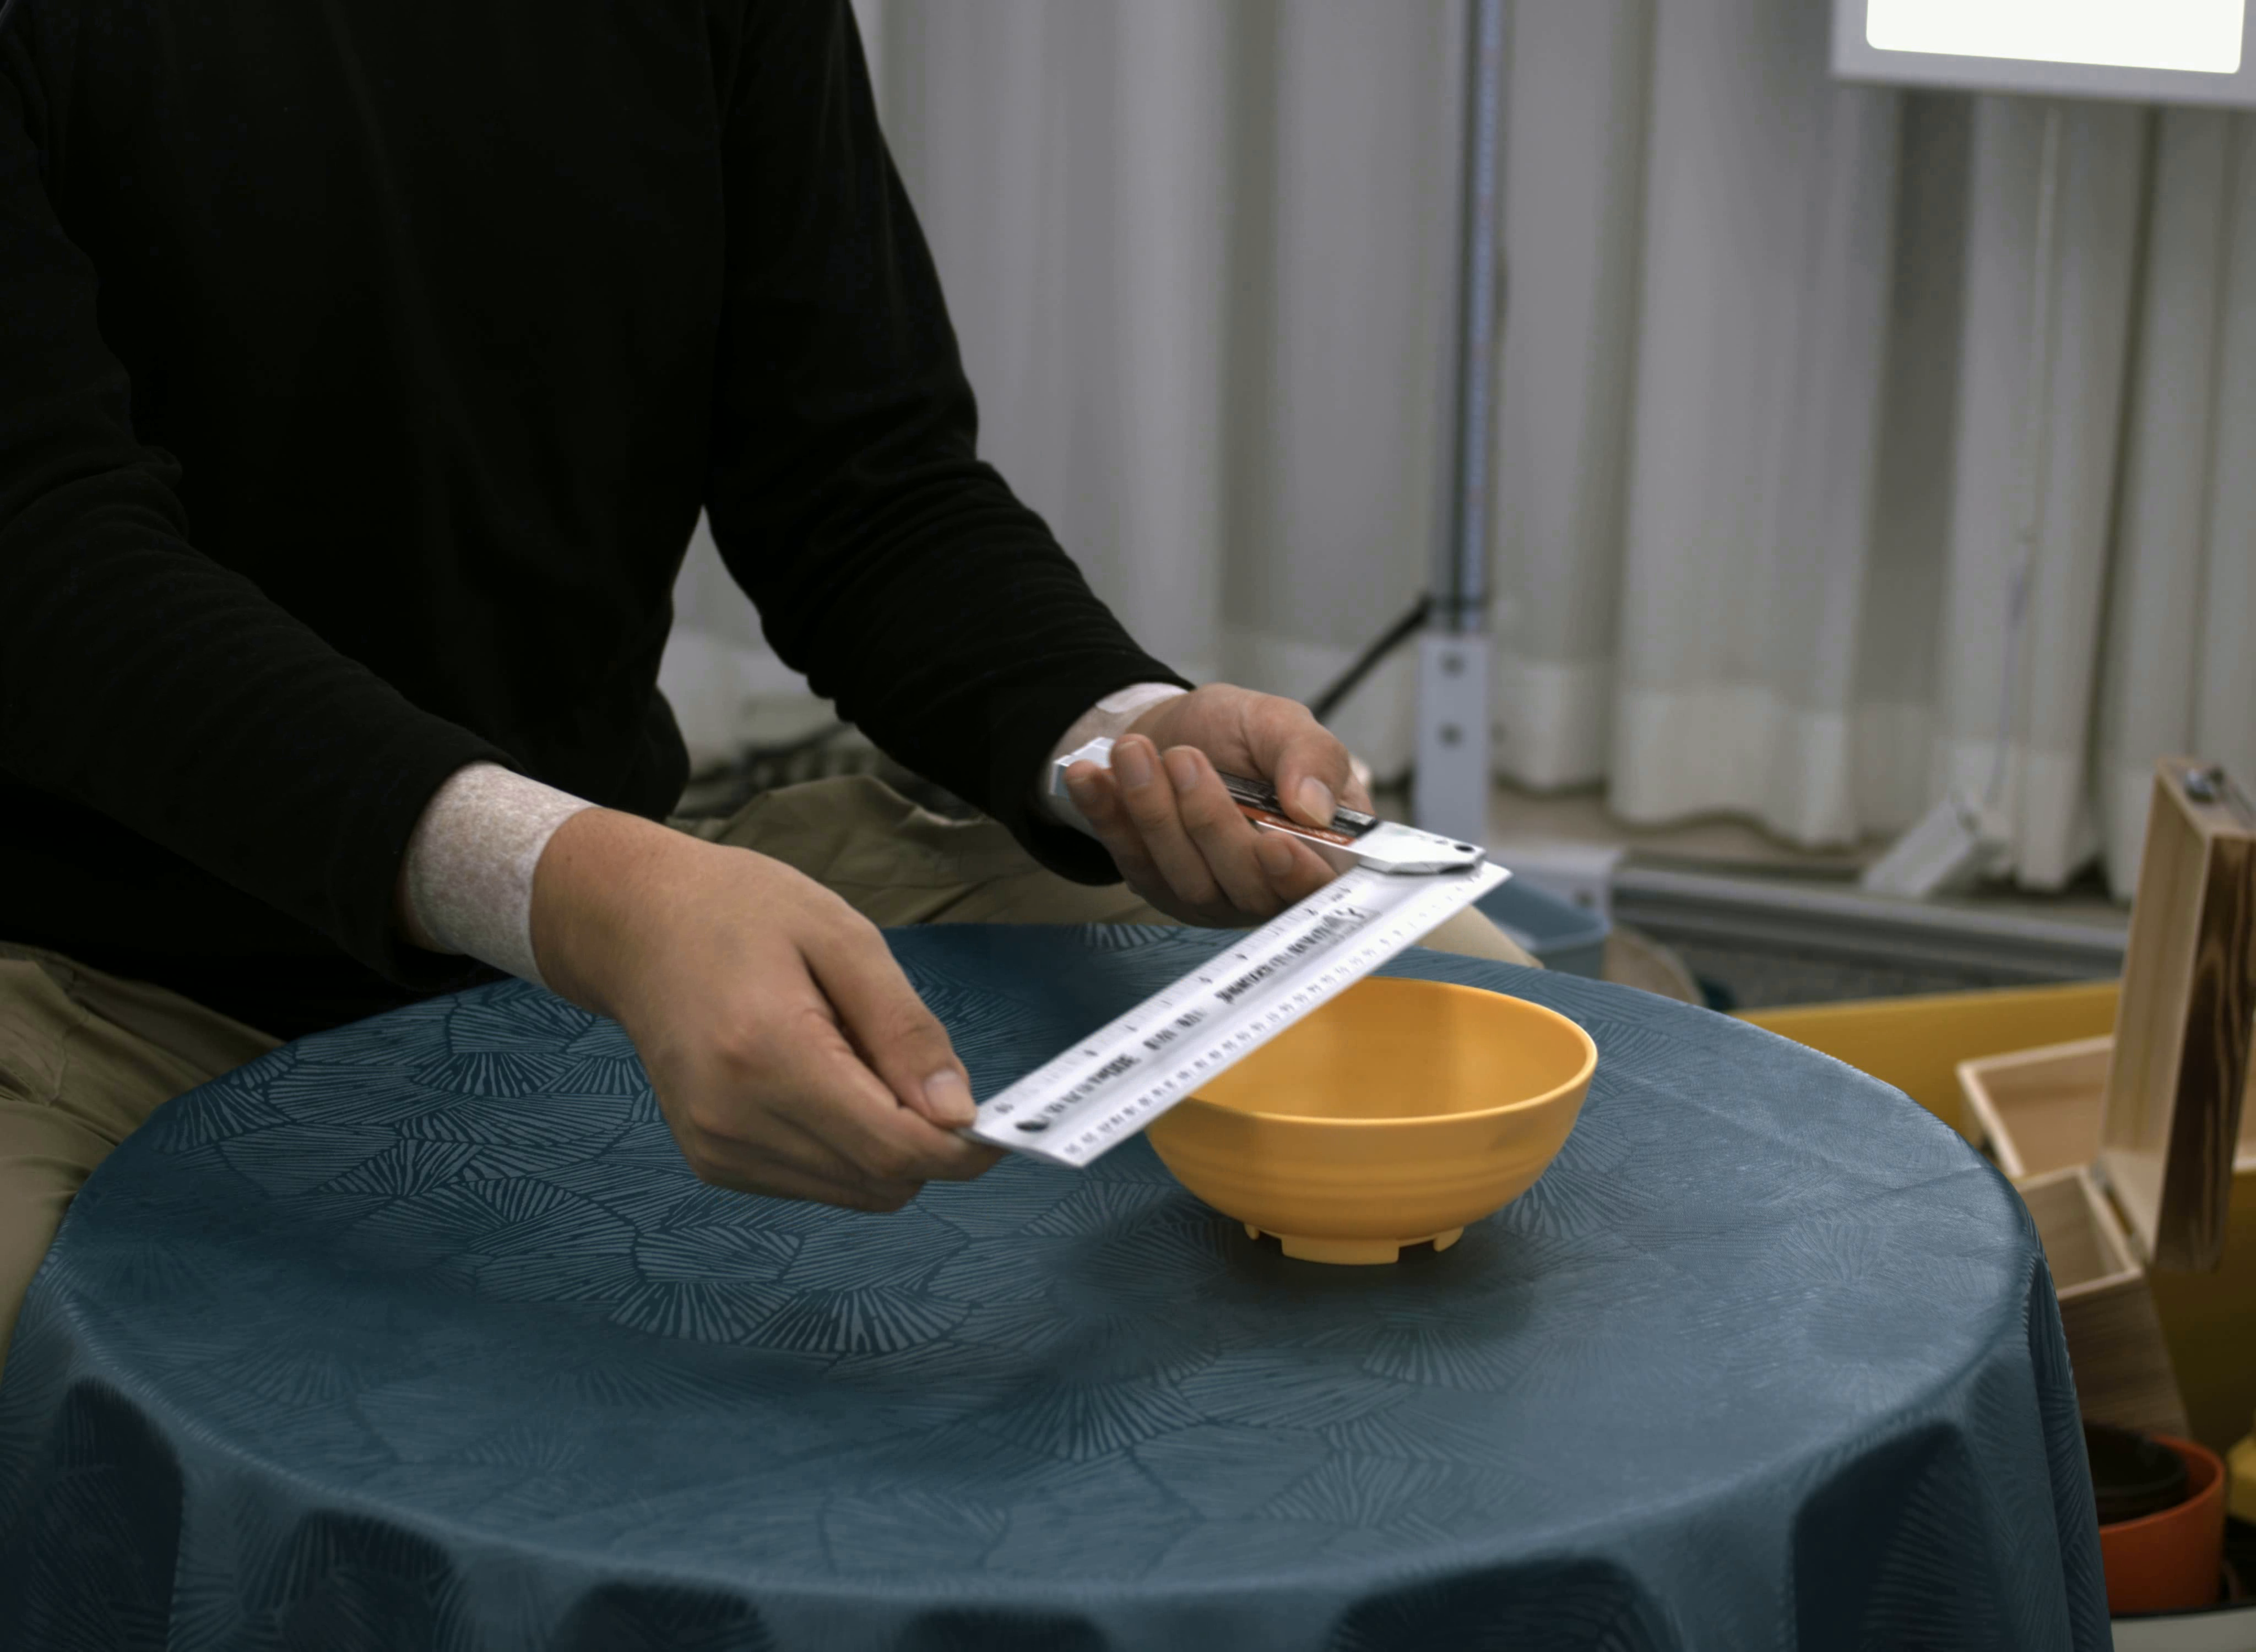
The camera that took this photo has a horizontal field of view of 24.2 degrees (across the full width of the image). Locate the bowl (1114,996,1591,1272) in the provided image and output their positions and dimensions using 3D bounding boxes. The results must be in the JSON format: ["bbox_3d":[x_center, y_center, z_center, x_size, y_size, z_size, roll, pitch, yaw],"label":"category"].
[{"bbox_3d":[0.066,0.096,1.581,0.145,0.060,0.144,0,12,1],"label":"bowl"}]

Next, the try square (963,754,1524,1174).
[{"bbox_3d":[-0.007,0.037,1.580,0.150,0.016,0.313,15,21,23],"label":"try square"}]
